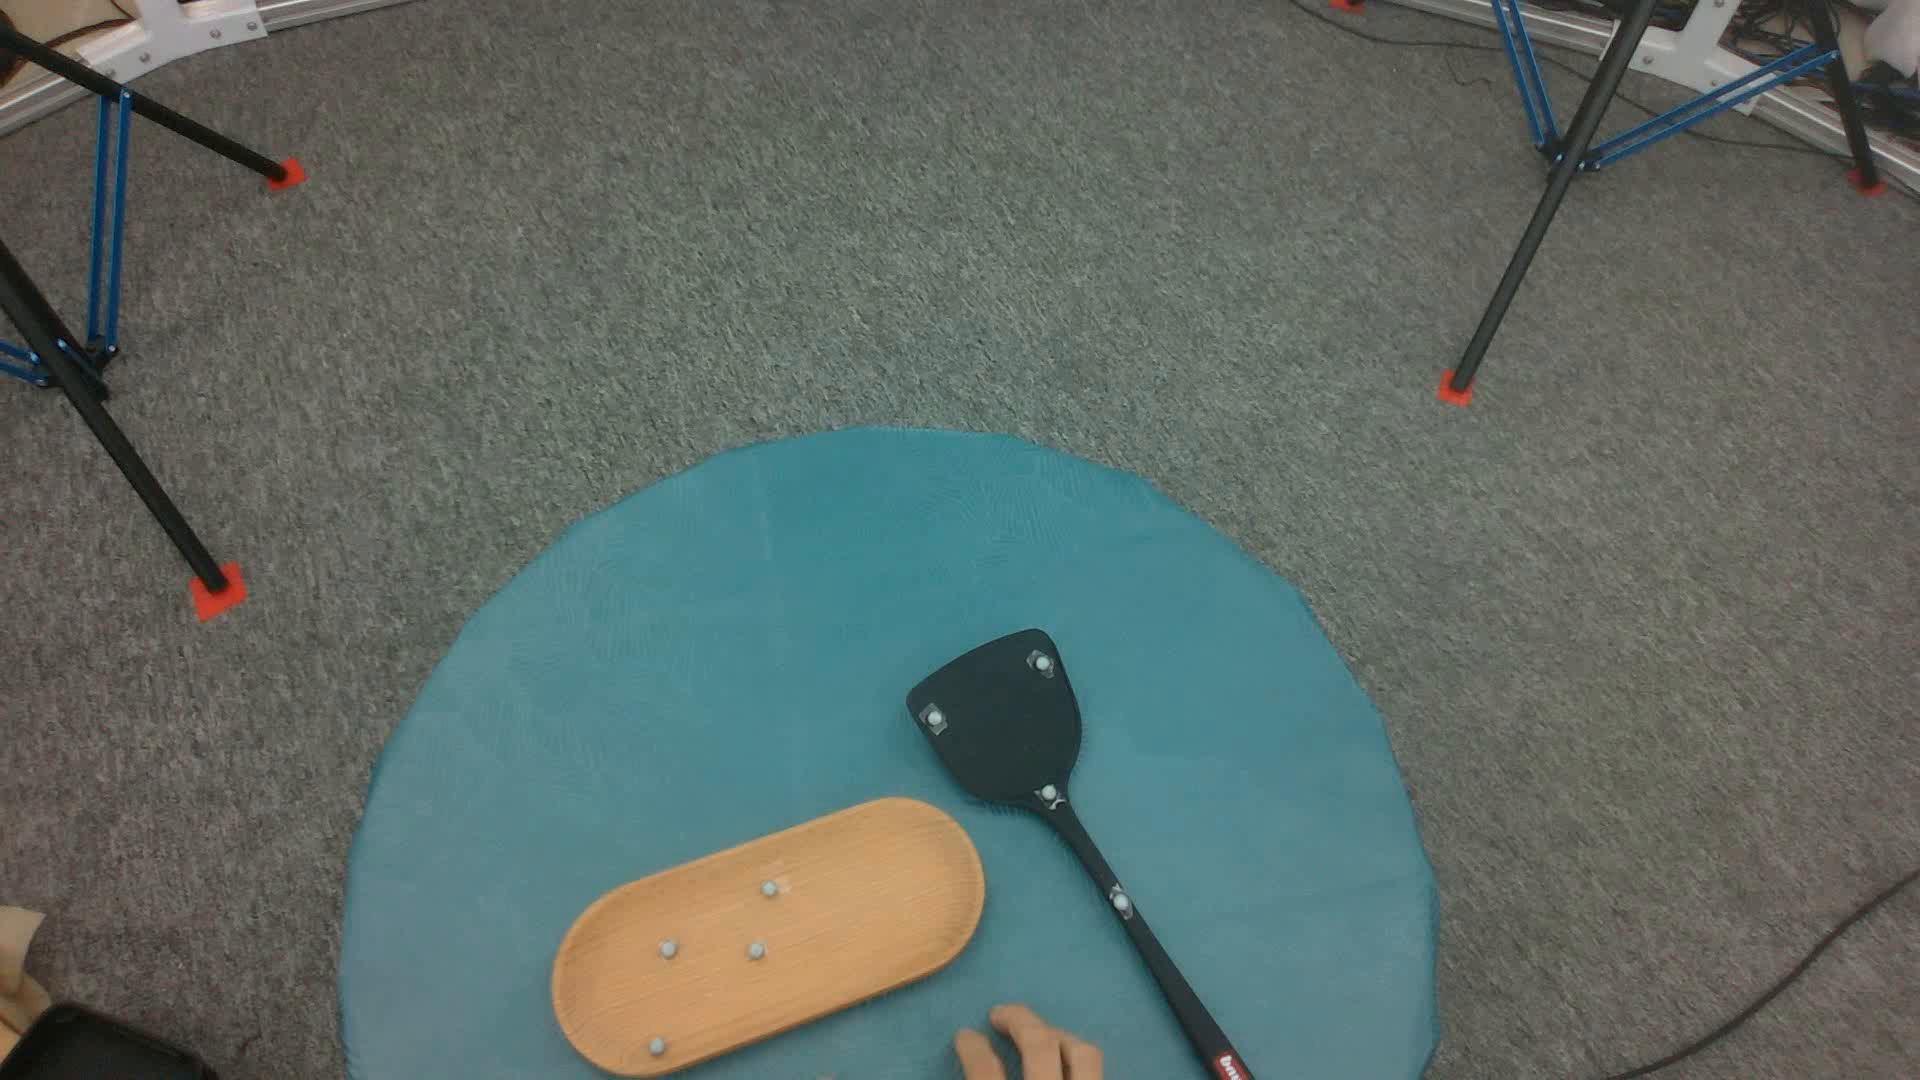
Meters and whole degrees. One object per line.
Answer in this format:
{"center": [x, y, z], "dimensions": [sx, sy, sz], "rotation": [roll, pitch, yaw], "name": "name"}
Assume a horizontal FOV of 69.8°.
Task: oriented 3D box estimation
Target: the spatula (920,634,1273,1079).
{"center": [0.096, 0.197, 0.754], "dimensions": [0.100, 0.040, 0.327], "rotation": [-26, 61, -17], "name": "spatula"}

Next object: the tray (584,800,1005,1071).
{"center": [-0.087, 0.212, 0.748], "dimensions": [0.231, 0.020, 0.102], "rotation": [-16, 59, -14], "name": "tray"}
